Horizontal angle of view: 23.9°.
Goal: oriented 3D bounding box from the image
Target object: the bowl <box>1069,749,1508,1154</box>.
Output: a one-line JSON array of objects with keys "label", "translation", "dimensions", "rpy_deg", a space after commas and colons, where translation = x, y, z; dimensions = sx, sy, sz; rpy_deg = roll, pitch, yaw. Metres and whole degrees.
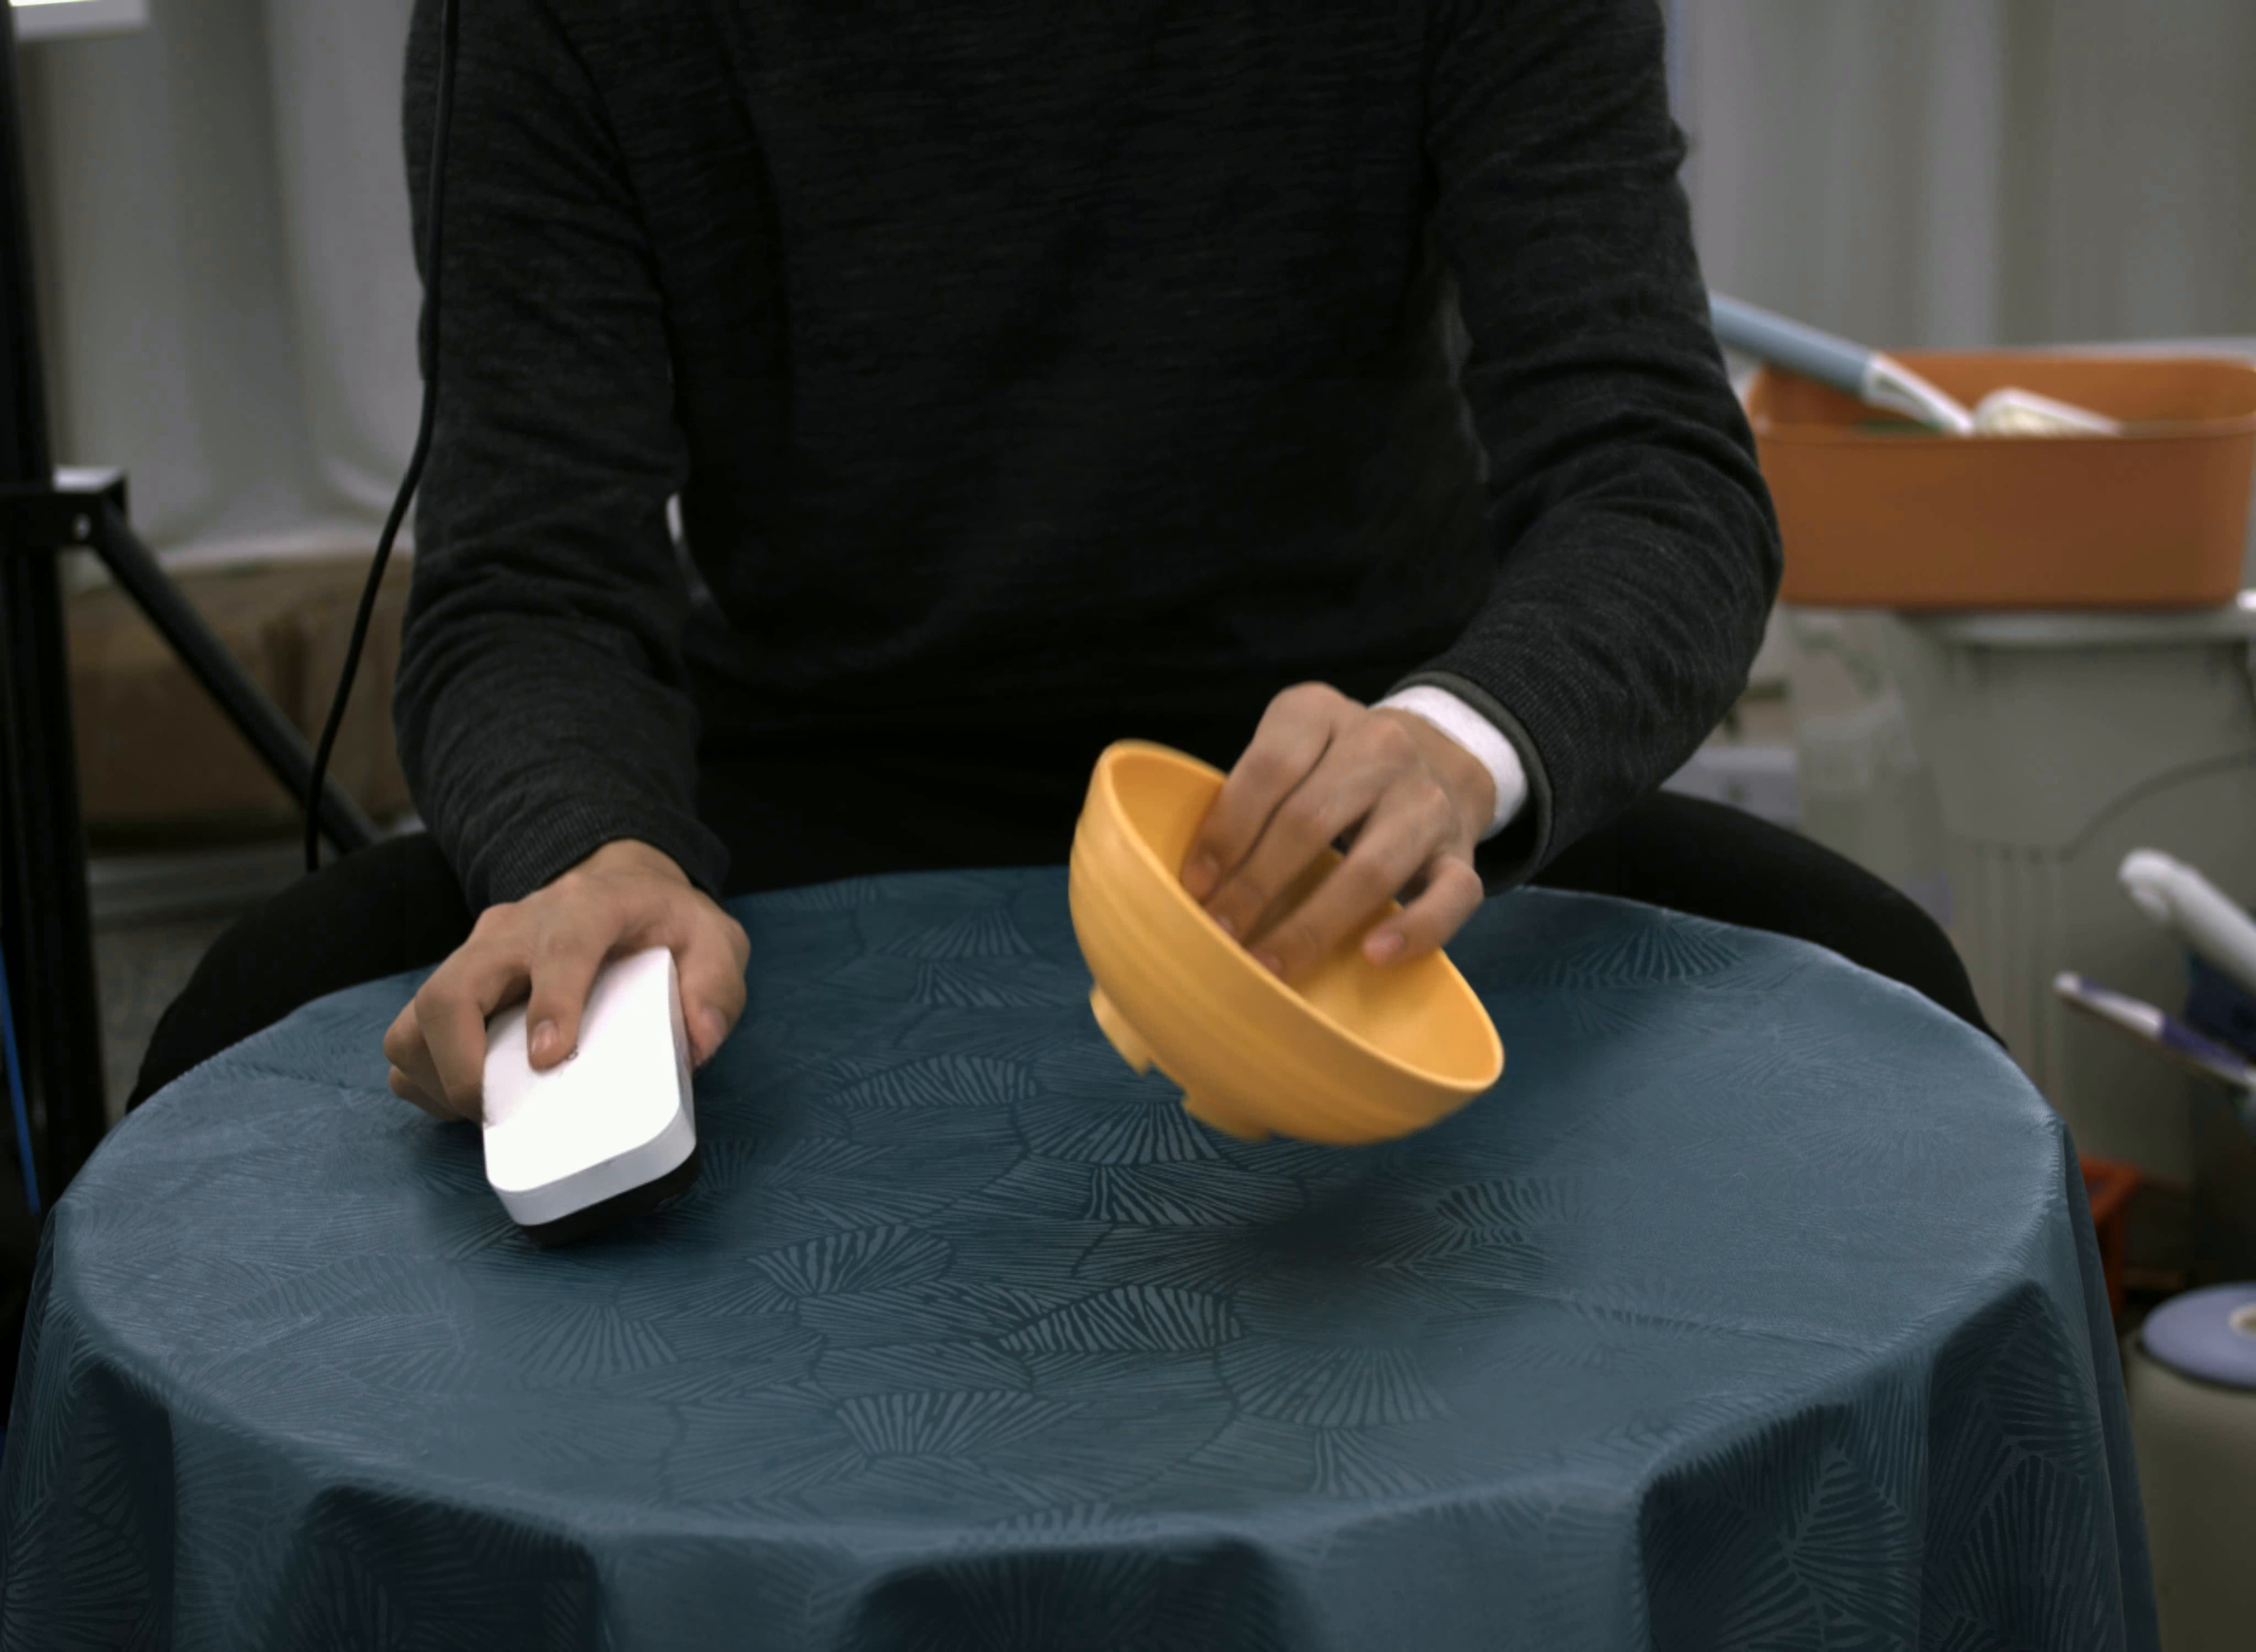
[{"label": "bowl", "translation": [0.034, 0.048, 1.498], "dimensions": [0.143, 0.060, 0.146], "rpy_deg": [33, 18, -14]}]

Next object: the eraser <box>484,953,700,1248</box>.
[{"label": "eraser", "translation": [-0.157, 0.078, 1.584], "dimensions": [0.063, 0.034, 0.132], "rpy_deg": [-20, 24, 4]}]
